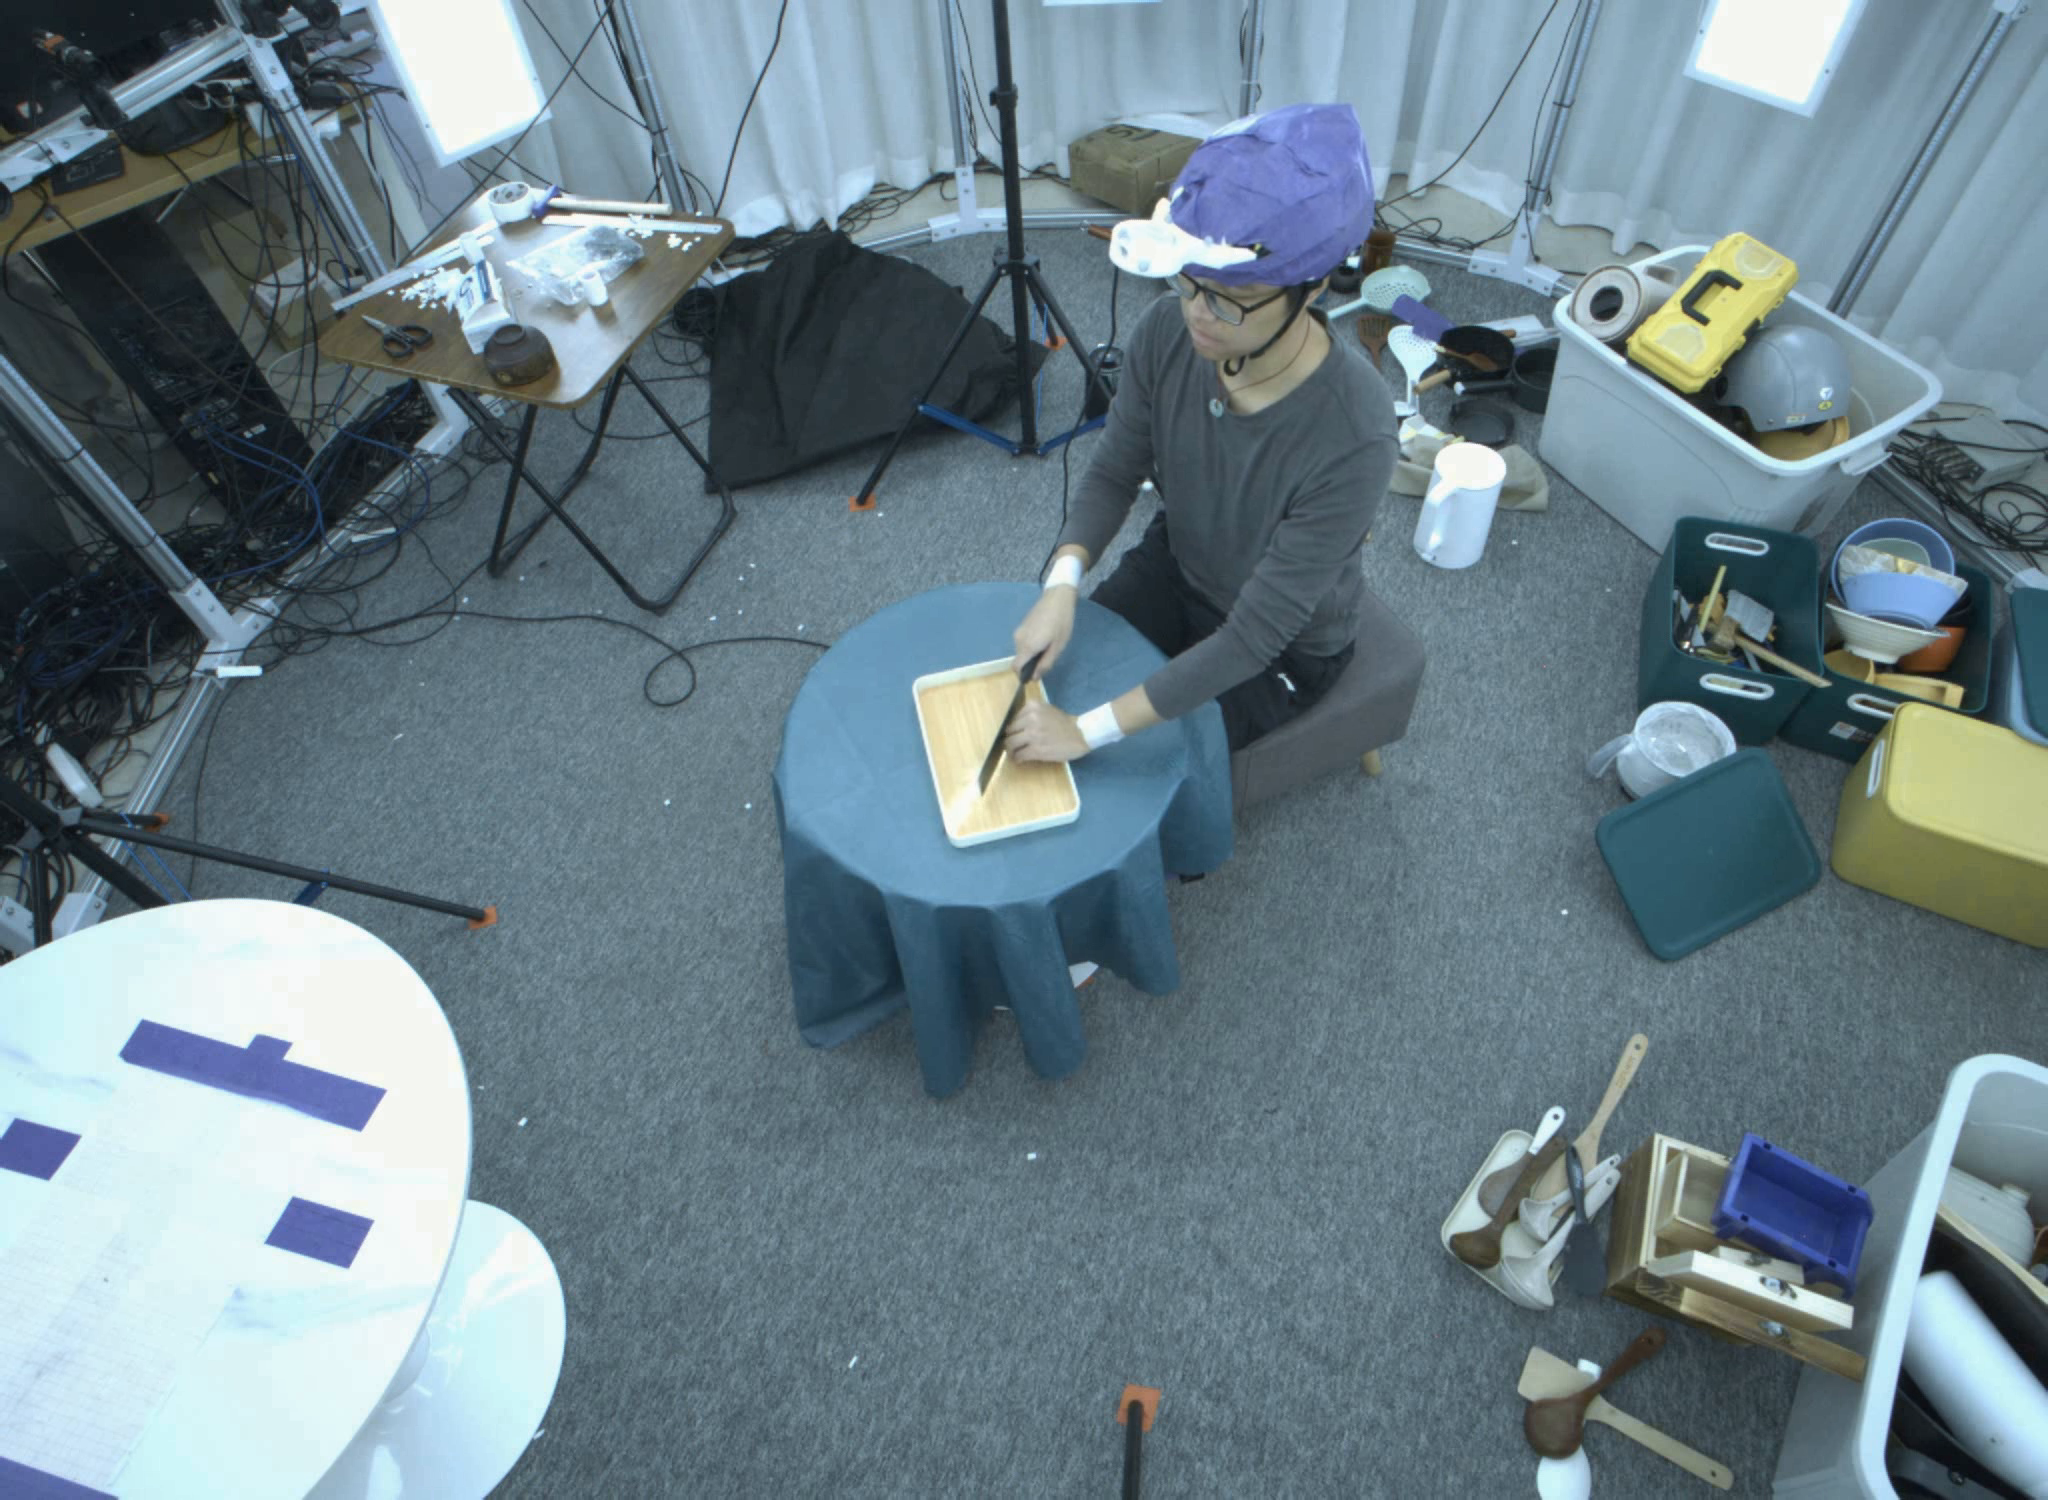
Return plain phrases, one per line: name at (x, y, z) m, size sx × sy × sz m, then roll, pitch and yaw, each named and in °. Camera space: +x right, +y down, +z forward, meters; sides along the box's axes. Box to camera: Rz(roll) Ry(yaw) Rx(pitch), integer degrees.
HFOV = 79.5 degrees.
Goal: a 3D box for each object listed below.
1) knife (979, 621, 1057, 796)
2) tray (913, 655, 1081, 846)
knife at (-0.010, -0.068, 1.778) m, size 0.020 × 0.081 × 0.302 m, roll 17°, pitch 62°, yaw 11°
tray at (-0.044, -0.005, 1.784) m, size 0.192 × 0.028 × 0.295 m, roll -12°, pitch 55°, yaw -7°
